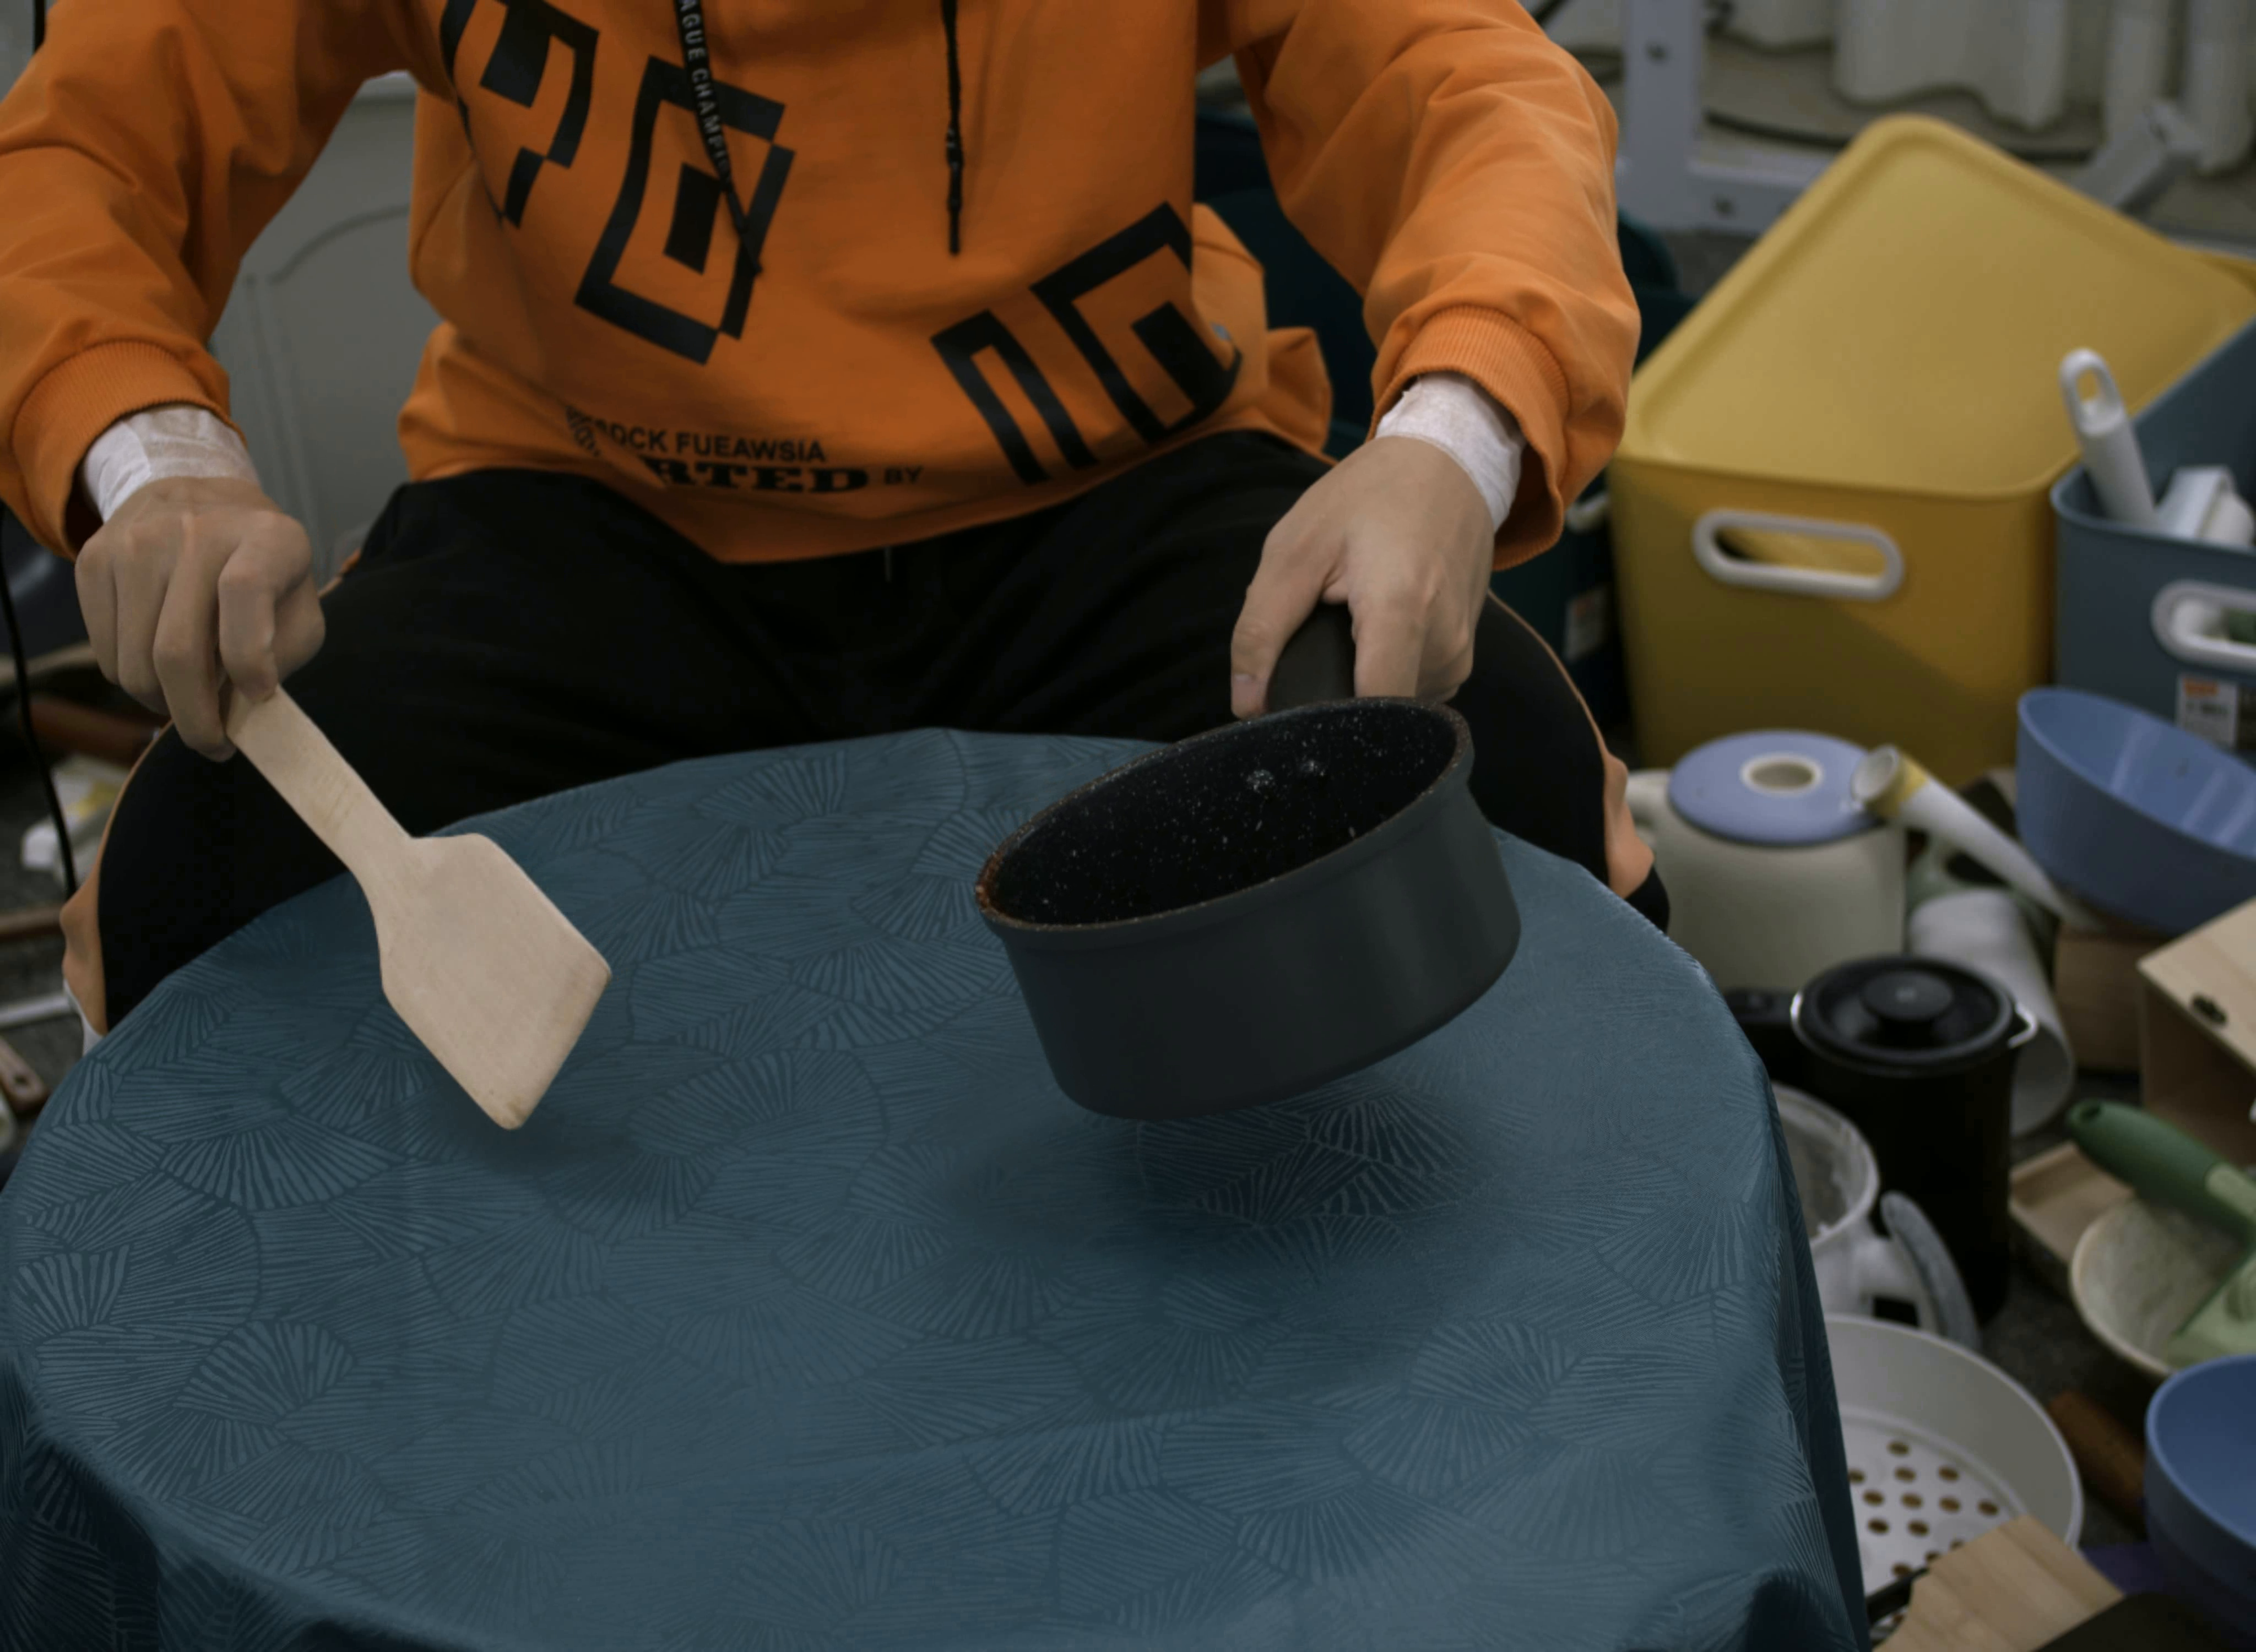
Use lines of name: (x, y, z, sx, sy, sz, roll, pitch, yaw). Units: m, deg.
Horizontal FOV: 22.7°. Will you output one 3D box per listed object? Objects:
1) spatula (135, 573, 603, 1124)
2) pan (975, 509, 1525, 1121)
spatula: (-0.273, -0.006, 1.959, 0.010, 0.072, 0.295, 16, 21, -48)
pan: (0.061, -0.008, 1.914, 0.170, 0.086, 0.334, -12, 21, 20)
